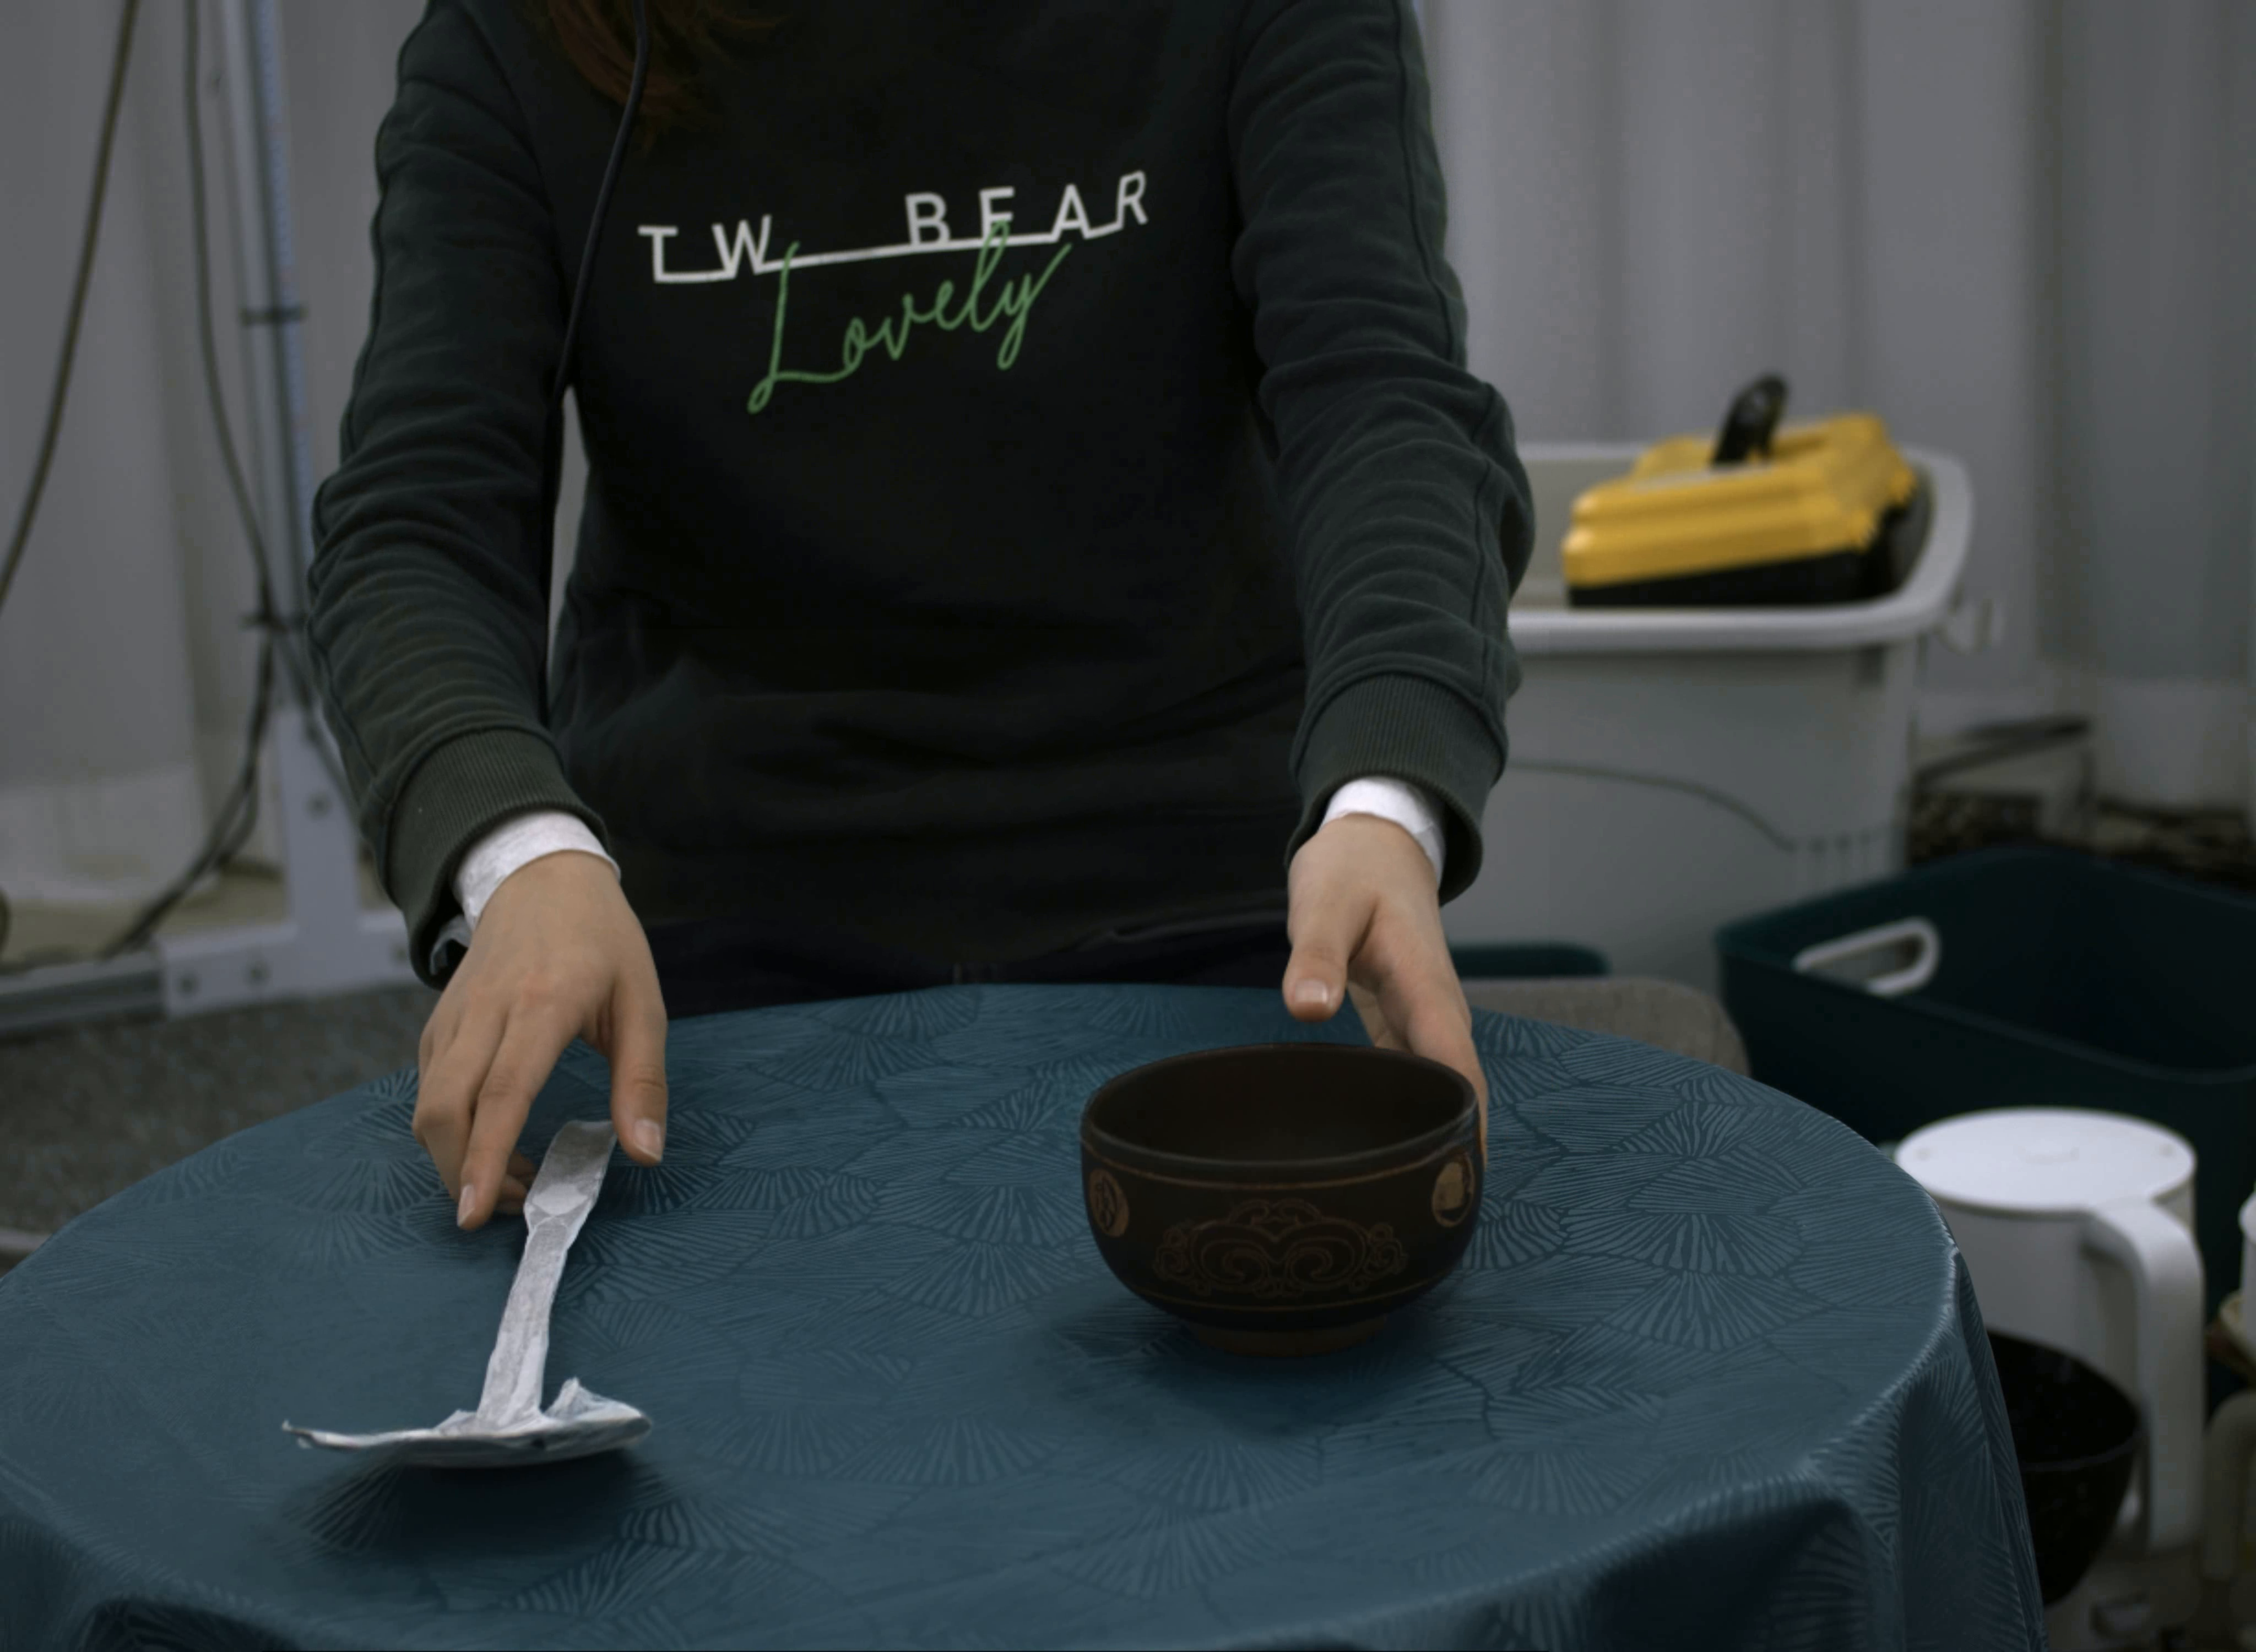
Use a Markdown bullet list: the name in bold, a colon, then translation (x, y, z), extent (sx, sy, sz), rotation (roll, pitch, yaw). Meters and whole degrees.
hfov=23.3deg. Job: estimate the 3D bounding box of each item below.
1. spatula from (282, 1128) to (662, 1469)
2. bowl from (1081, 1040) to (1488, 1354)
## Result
- **spatula**: translation (-0.171, 0.130, 1.613), extent (0.098, 0.044, 0.367), rotation (-4, 15, 3)
- **bowl**: translation (0.045, 0.111, 1.582), extent (0.117, 0.069, 0.119), rotation (-1, 14, 0)
